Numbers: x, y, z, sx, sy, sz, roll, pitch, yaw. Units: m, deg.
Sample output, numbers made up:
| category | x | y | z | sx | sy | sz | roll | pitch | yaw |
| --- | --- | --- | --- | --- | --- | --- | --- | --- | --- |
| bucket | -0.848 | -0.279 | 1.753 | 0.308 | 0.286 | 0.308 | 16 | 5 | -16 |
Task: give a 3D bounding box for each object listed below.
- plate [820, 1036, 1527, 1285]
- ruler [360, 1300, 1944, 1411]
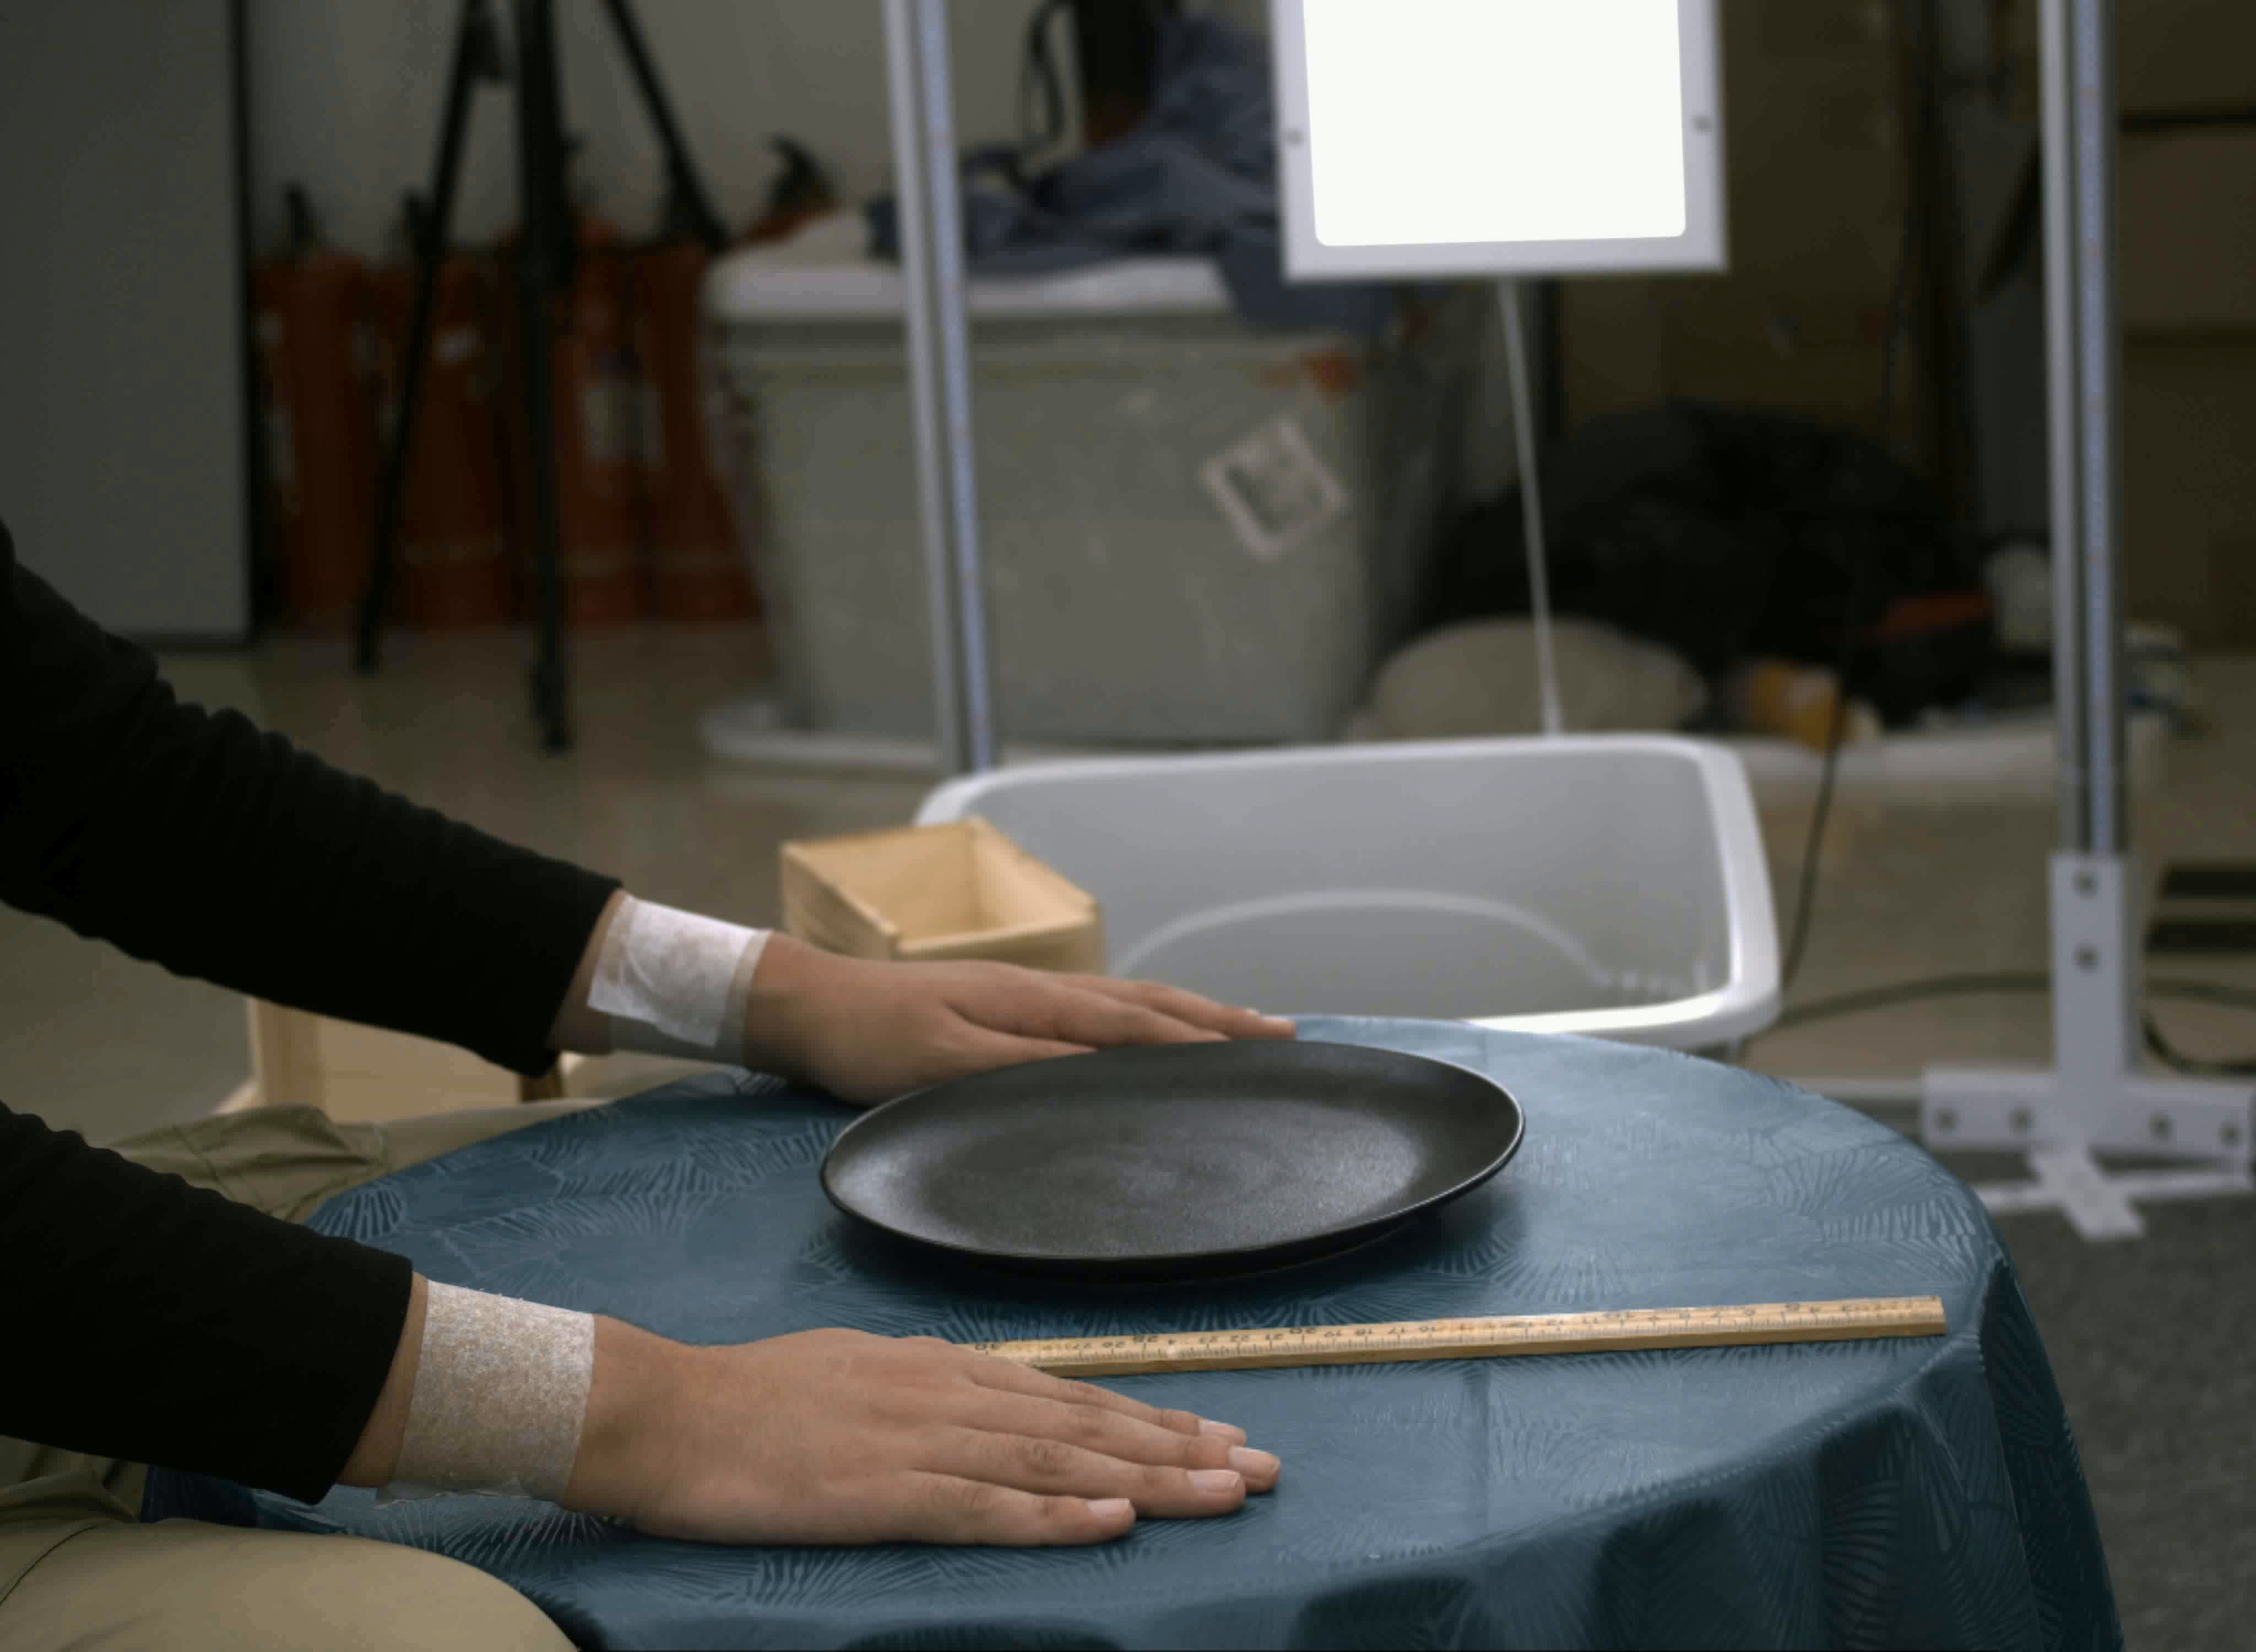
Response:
| category | x | y | z | sx | sy | sz | roll | pitch | yaw |
| --- | --- | --- | --- | --- | --- | --- | --- | --- | --- |
| plate | 0.016 | 0.117 | 1.882 | 0.244 | 0.023 | 0.244 | -5 | 14 | 0 |
| ruler | 0.006 | 0.166 | 1.726 | 0.502 | 0.006 | 0.026 | -3 | 12 | 8 |
